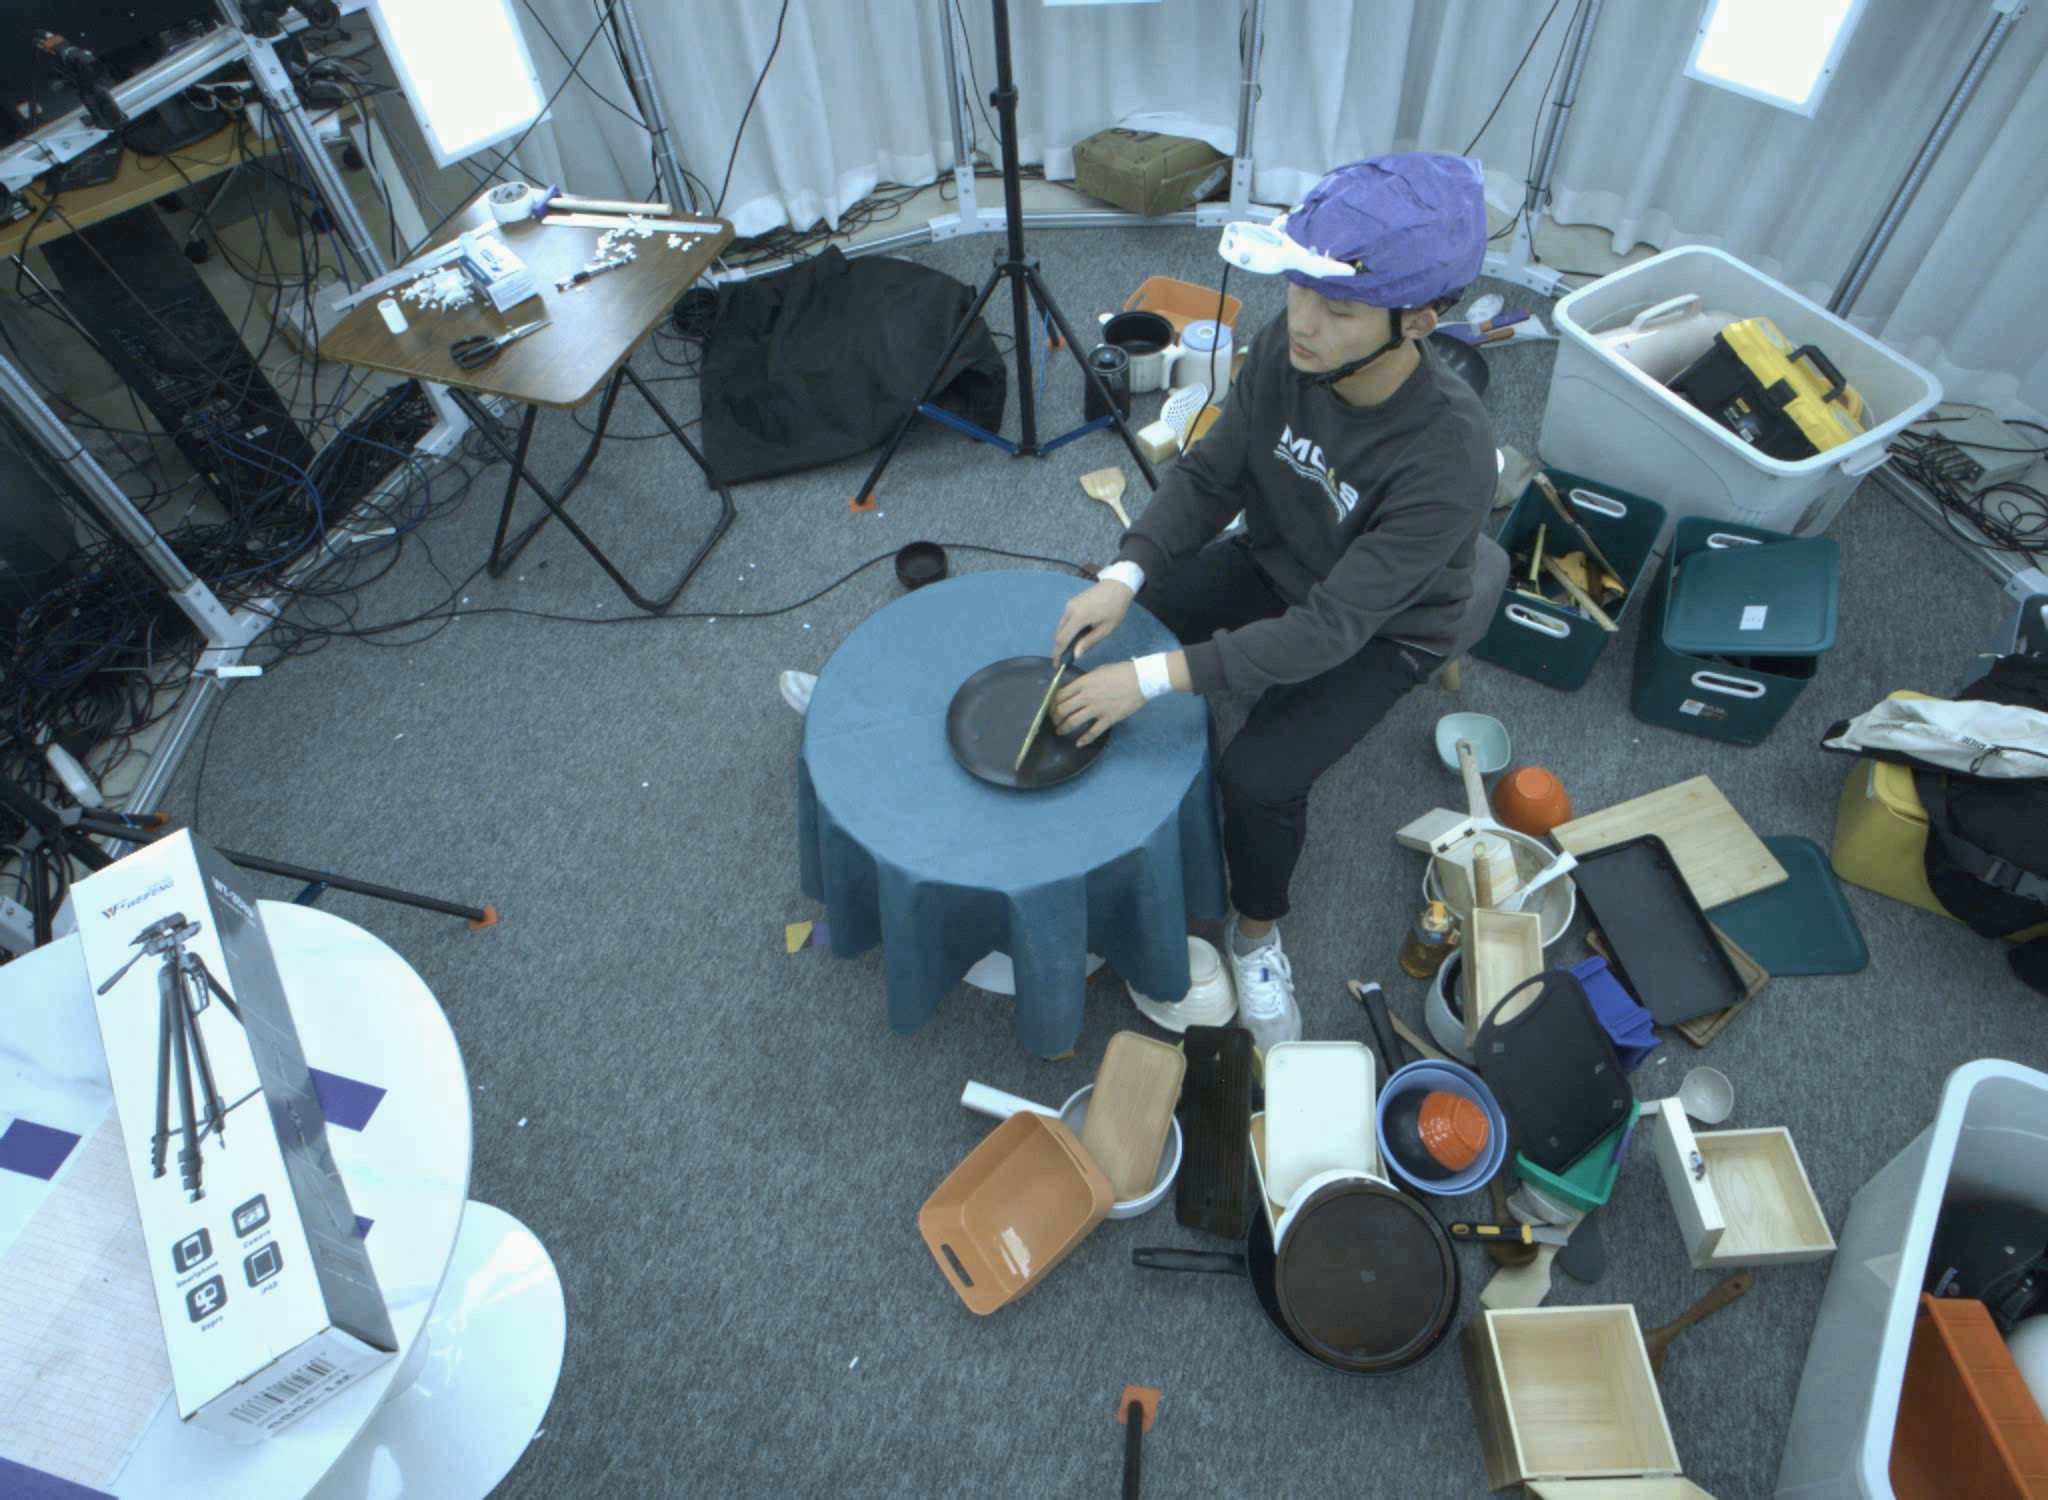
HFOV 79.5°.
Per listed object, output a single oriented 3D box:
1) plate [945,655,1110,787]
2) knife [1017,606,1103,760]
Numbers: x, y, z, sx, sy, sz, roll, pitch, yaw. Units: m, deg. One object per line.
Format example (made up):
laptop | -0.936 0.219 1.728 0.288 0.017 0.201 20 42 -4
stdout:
plate | 0.005 -0.041 1.810 0.244 0.023 0.242 0 55 1
knife | 0.050 -0.099 1.806 0.027 0.081 0.289 26 62 4
